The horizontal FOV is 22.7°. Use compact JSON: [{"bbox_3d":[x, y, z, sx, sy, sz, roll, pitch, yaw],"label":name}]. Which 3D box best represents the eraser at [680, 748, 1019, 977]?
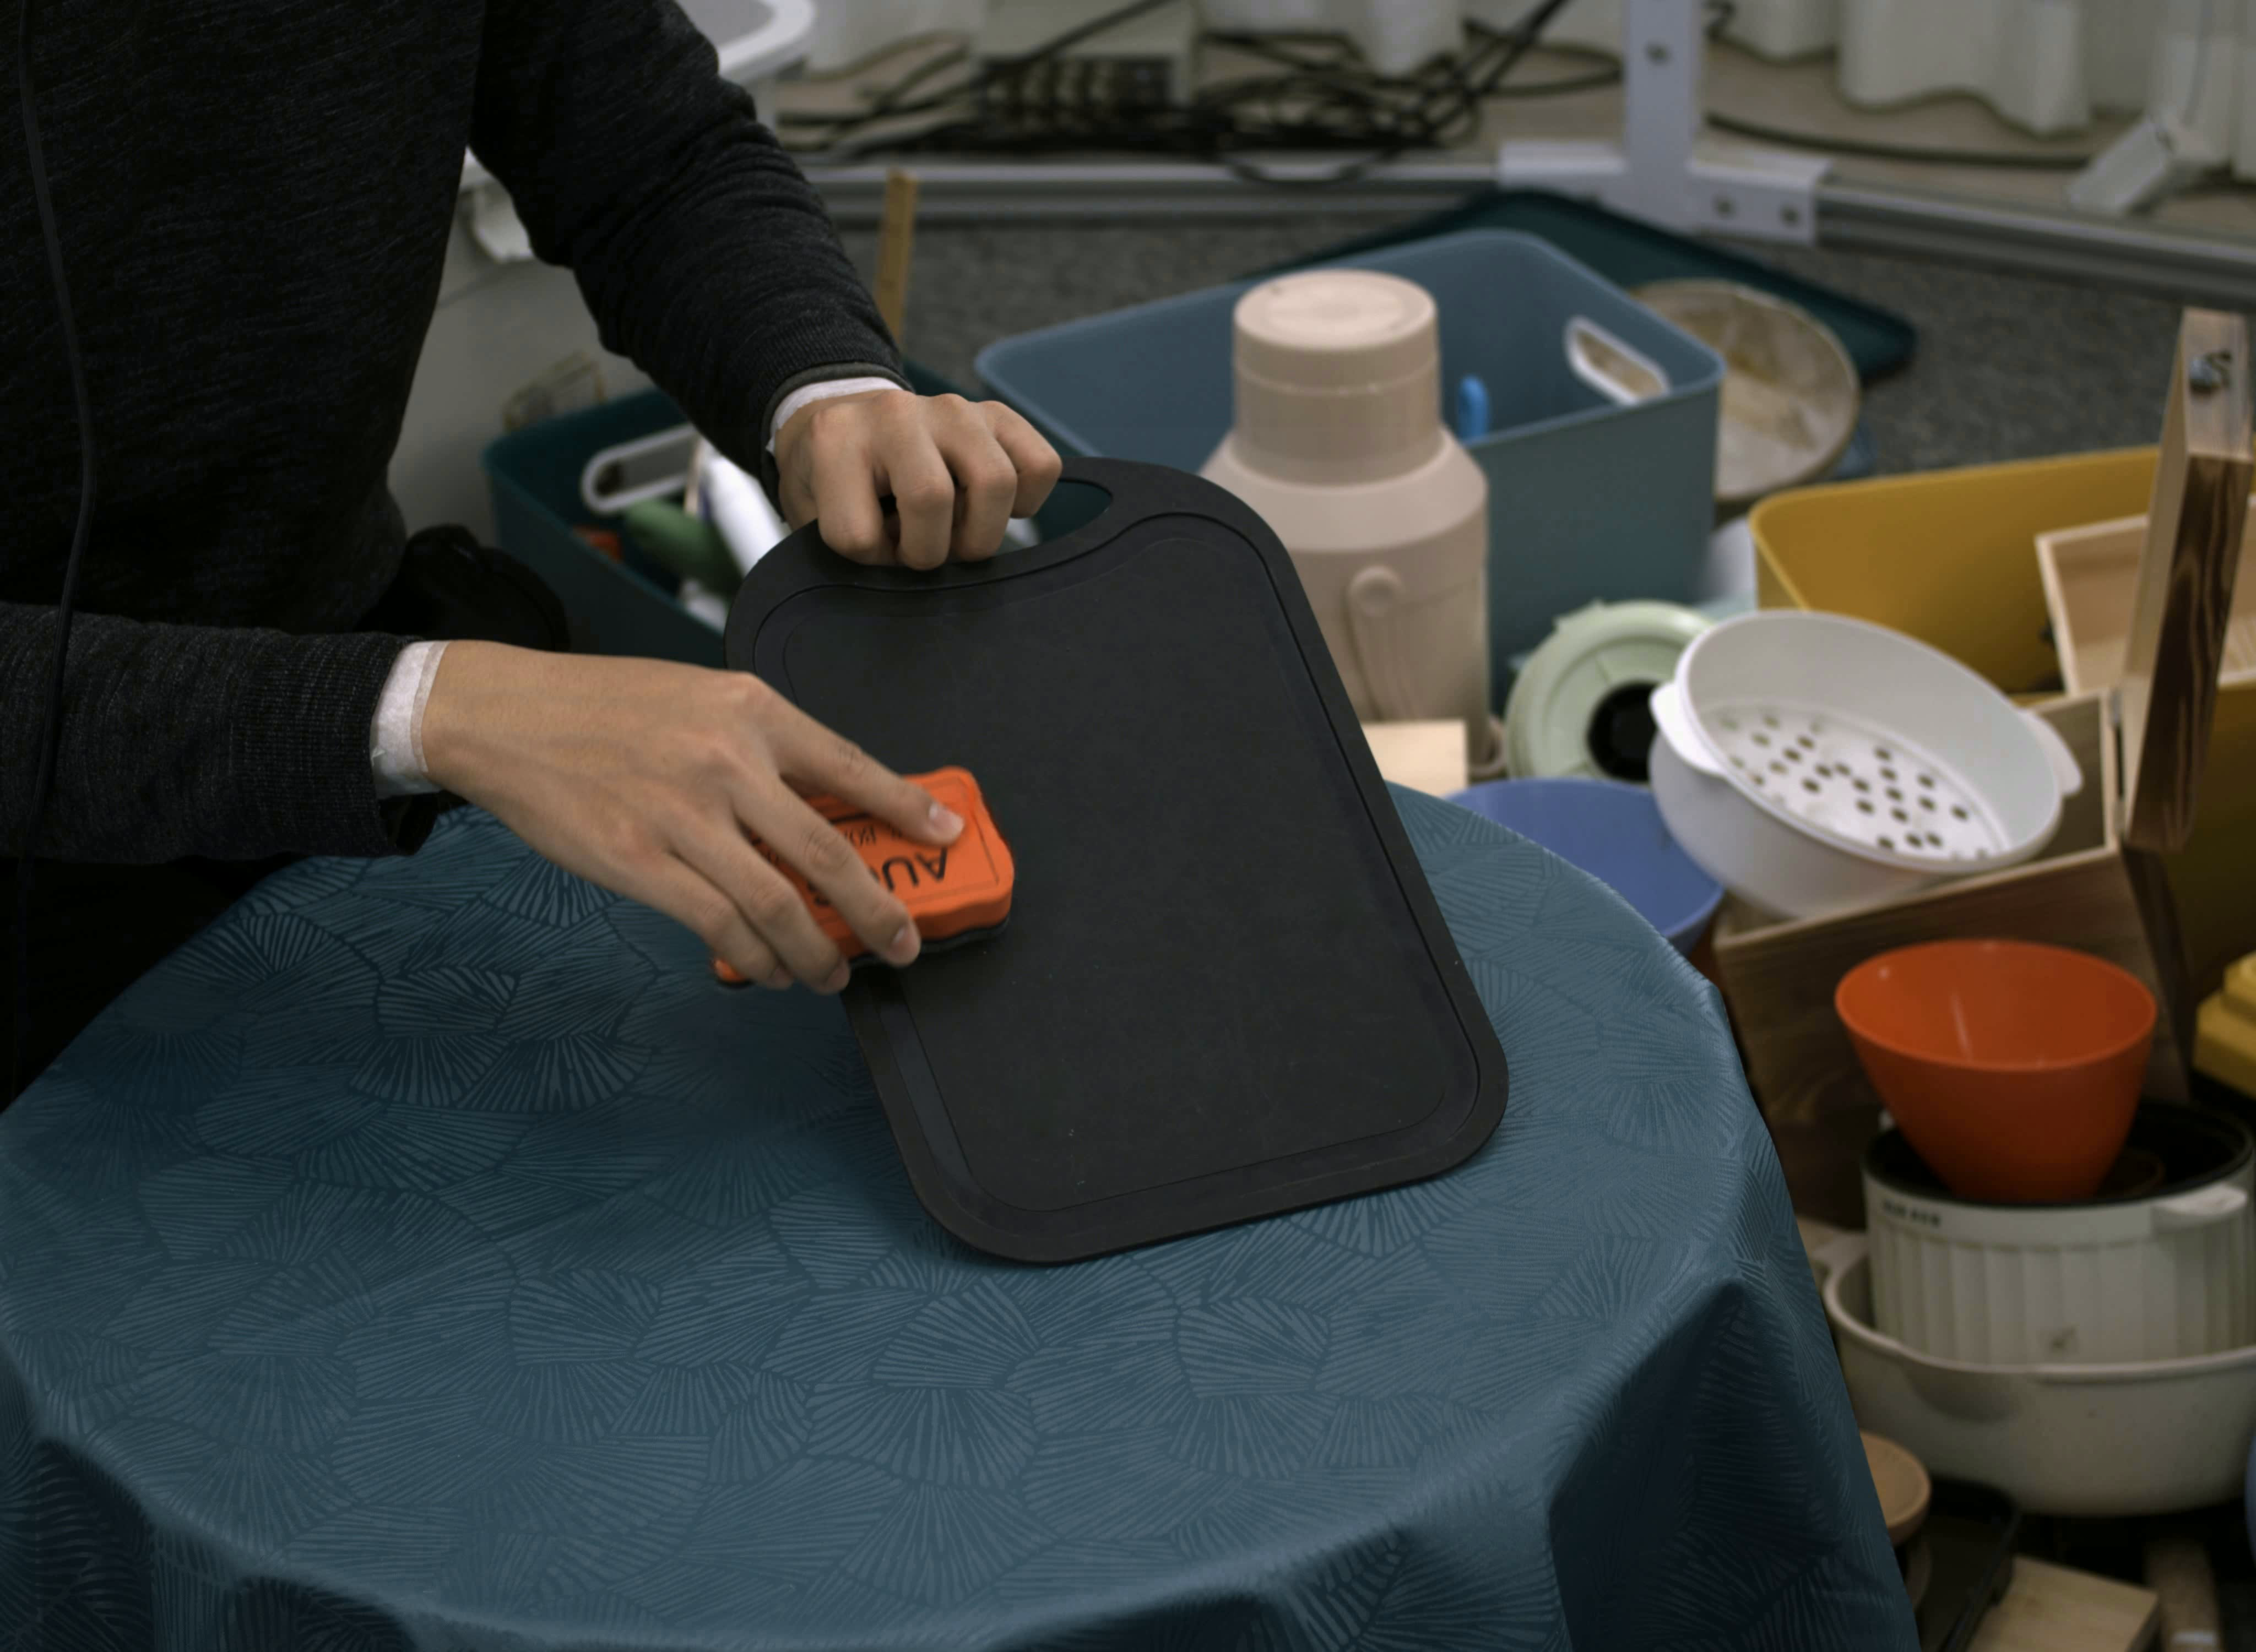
[{"bbox_3d":[-0.094,0.012,1.896,0.108,0.022,0.060,-15,51,-16],"label":"eraser"}]

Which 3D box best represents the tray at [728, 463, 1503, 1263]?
[{"bbox_3d":[-0.011,0.002,1.929,0.211,0.009,0.330,-11,55,-16],"label":"tray"}]
